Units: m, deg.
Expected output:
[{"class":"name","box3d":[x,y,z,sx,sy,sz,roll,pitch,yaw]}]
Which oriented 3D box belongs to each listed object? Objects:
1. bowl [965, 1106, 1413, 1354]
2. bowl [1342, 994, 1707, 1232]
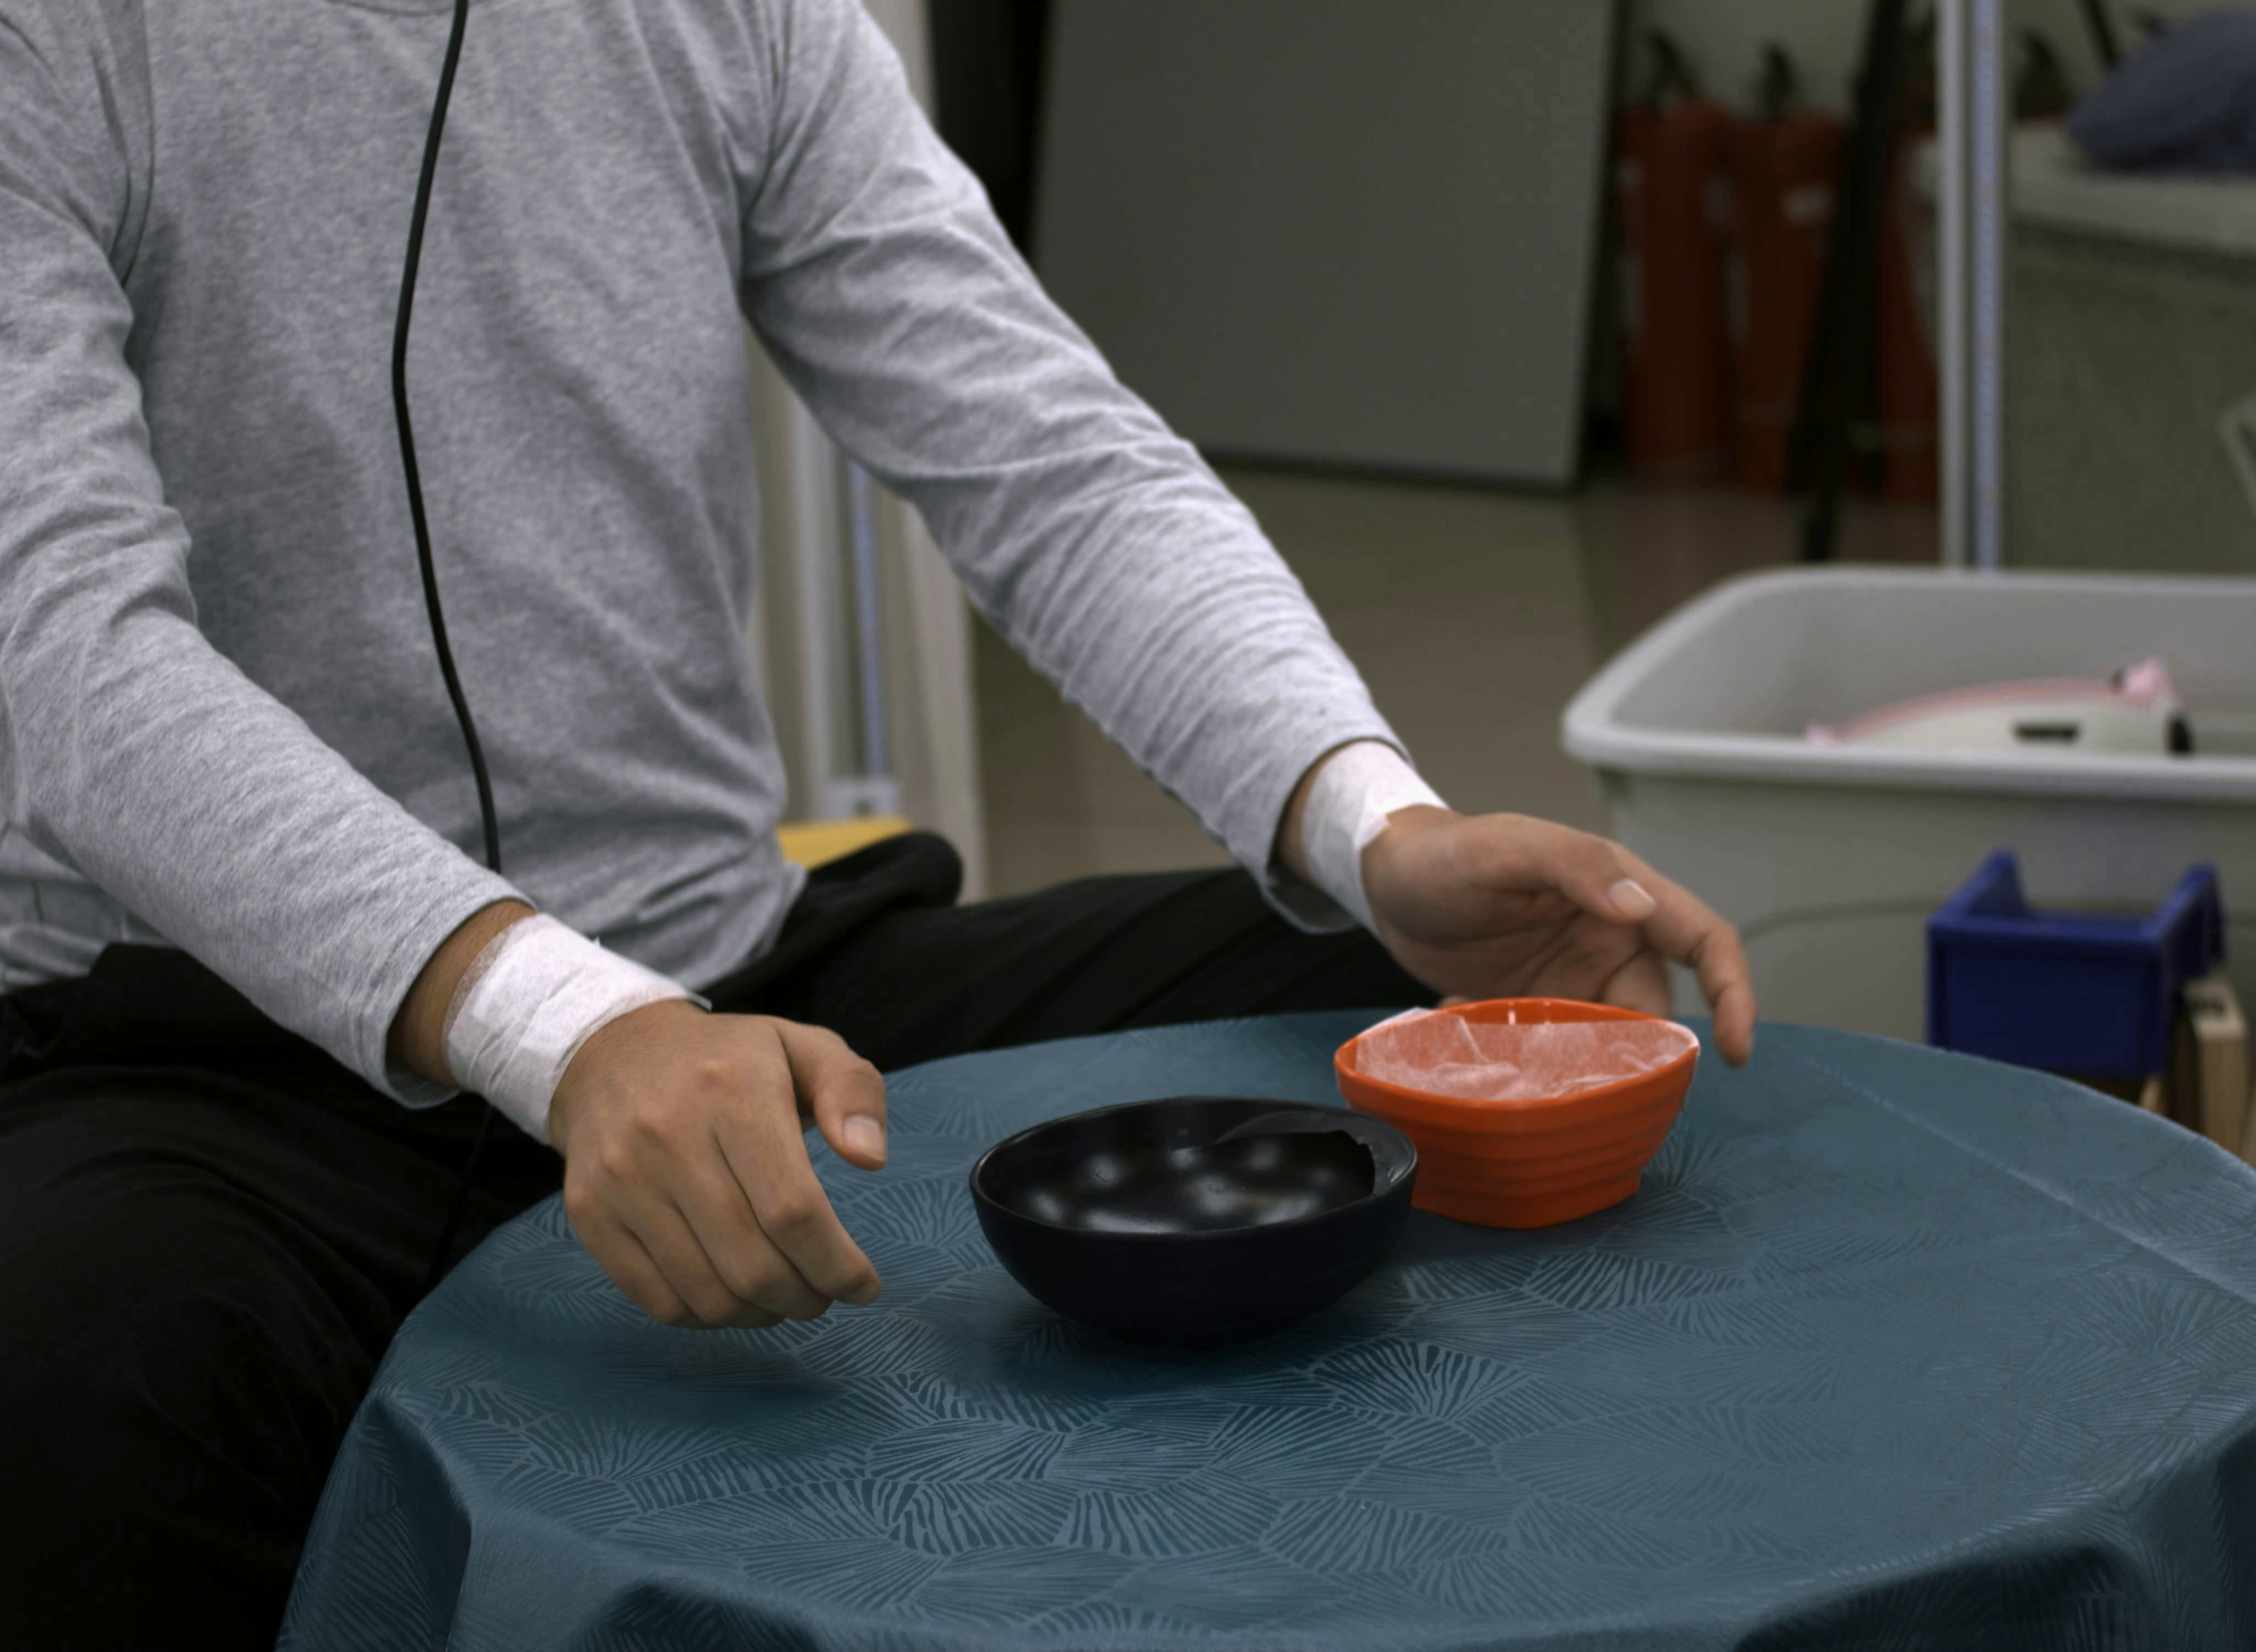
[{"class":"bowl","box3d":[0.021,0.127,1.646,0.138,0.050,0.140,-5,11,0]},{"class":"bowl","box3d":[0.129,0.094,1.738,0.117,0.052,0.119,-5,14,0]}]
